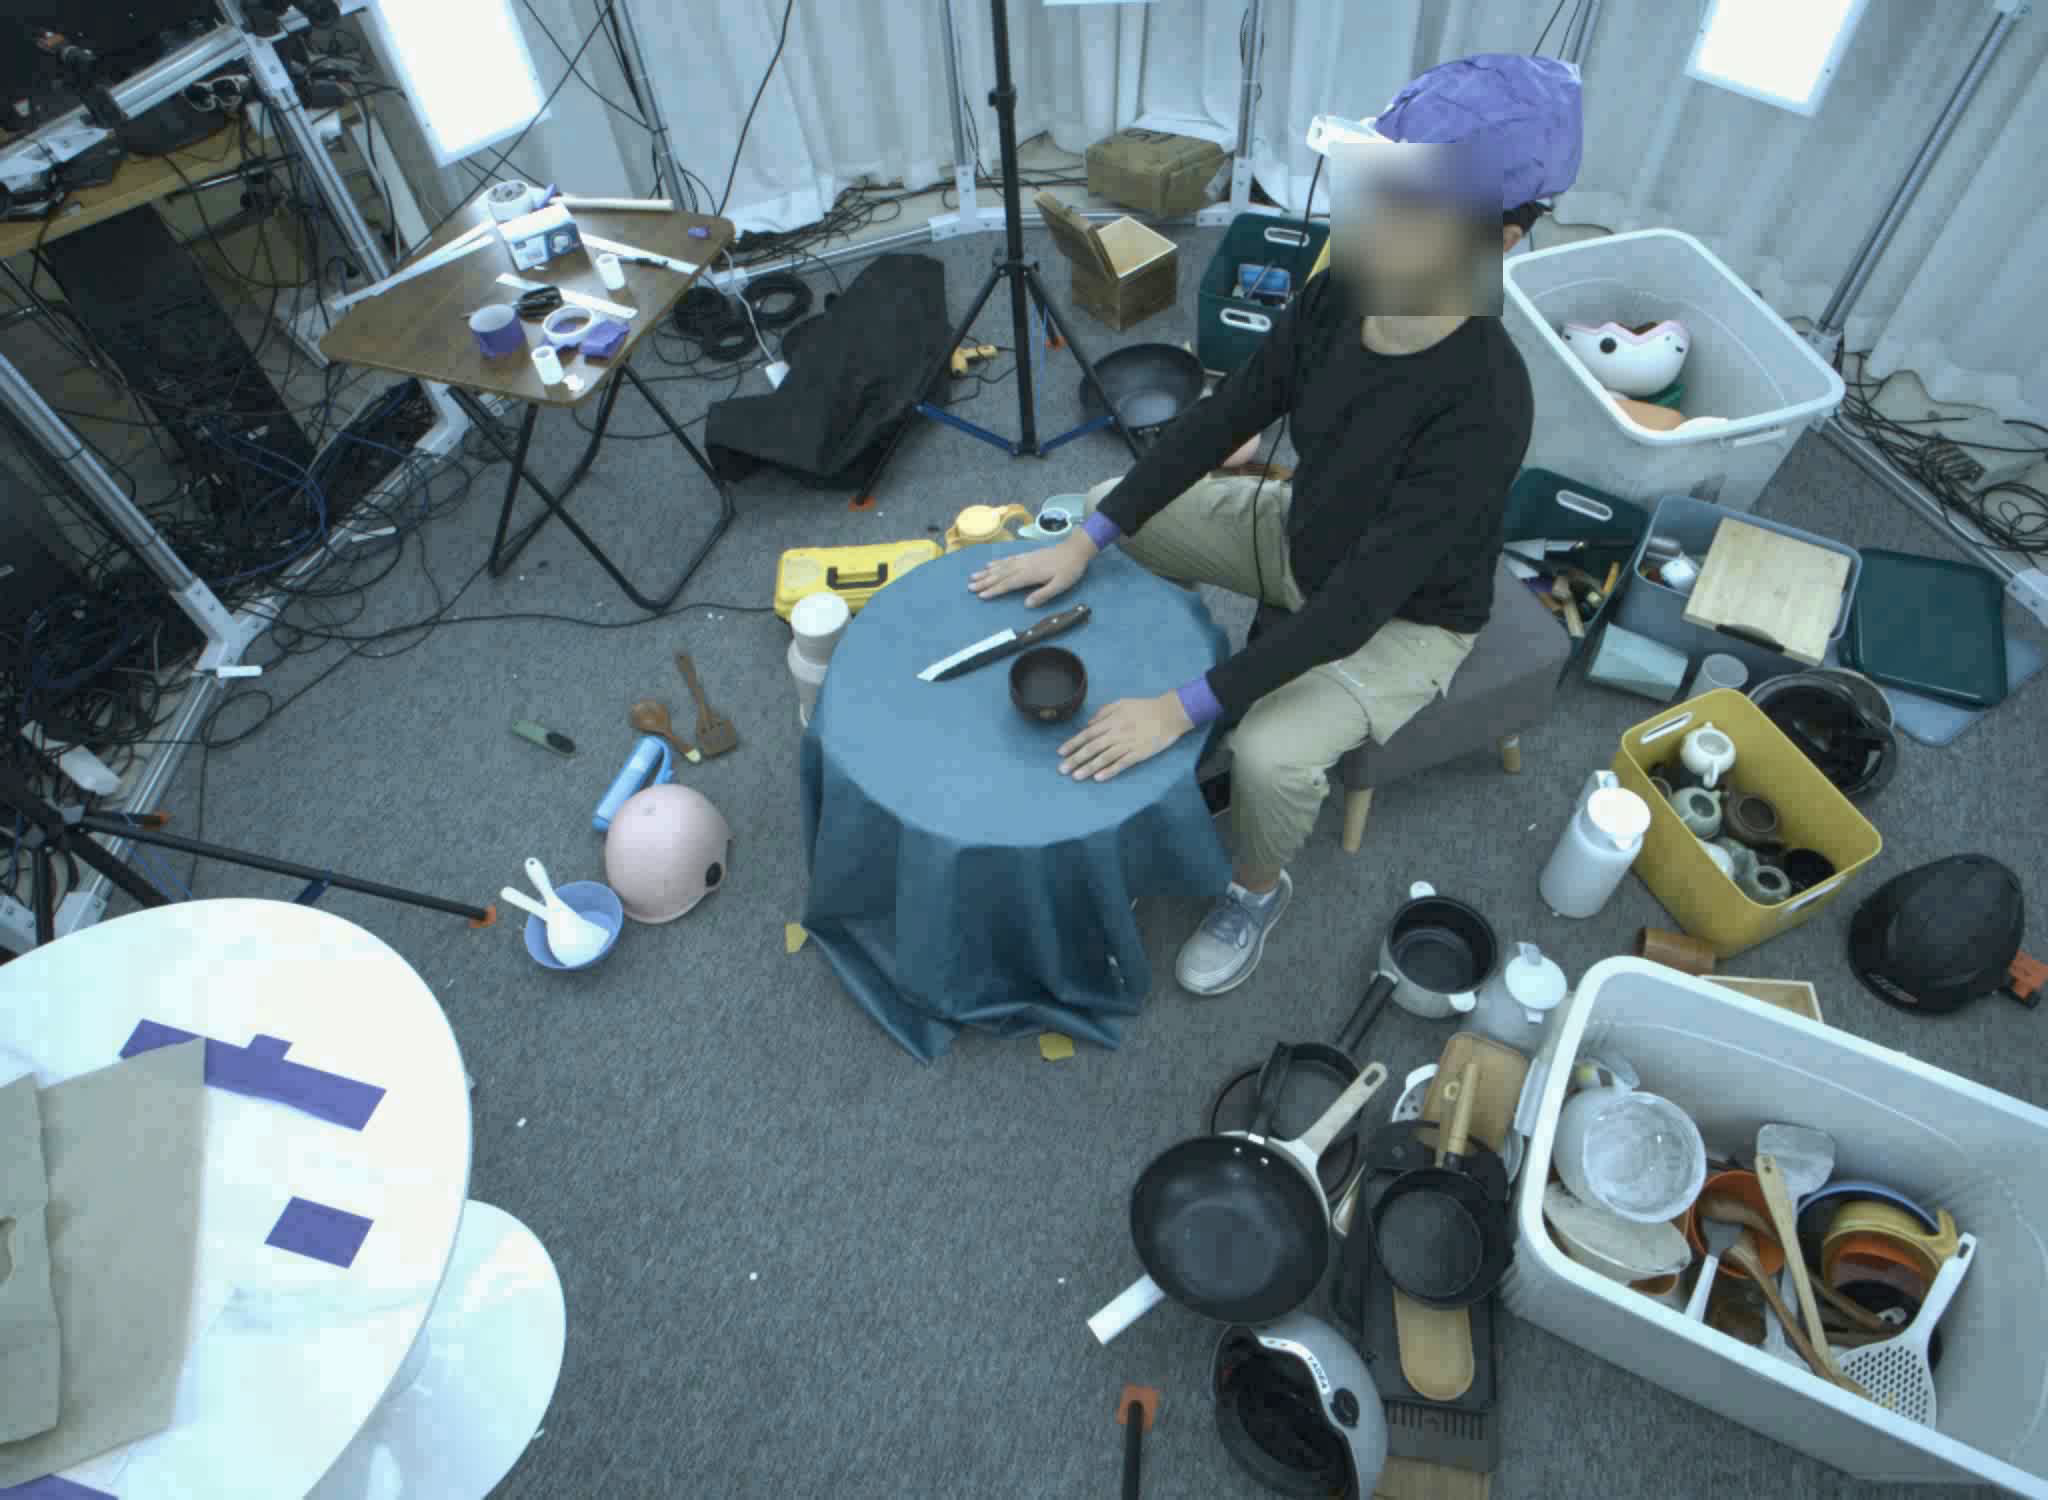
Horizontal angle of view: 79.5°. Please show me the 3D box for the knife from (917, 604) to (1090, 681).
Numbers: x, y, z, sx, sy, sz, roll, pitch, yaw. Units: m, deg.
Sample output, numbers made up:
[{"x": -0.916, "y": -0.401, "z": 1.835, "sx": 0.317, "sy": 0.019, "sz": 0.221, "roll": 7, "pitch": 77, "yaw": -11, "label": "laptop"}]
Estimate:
[{"x": -0.031, "y": -0.164, "z": 1.893, "sx": 0.291, "sy": 0.020, "sz": 0.049, "roll": -23, "pitch": 52, "yaw": -11, "label": "knife"}]

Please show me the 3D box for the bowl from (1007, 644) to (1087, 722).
[{"x": 0.034, "y": -0.090, "z": 1.802, "sx": 0.118, "sy": 0.070, "sz": 0.117, "roll": 0, "pitch": 54, "yaw": 2, "label": "bowl"}]
